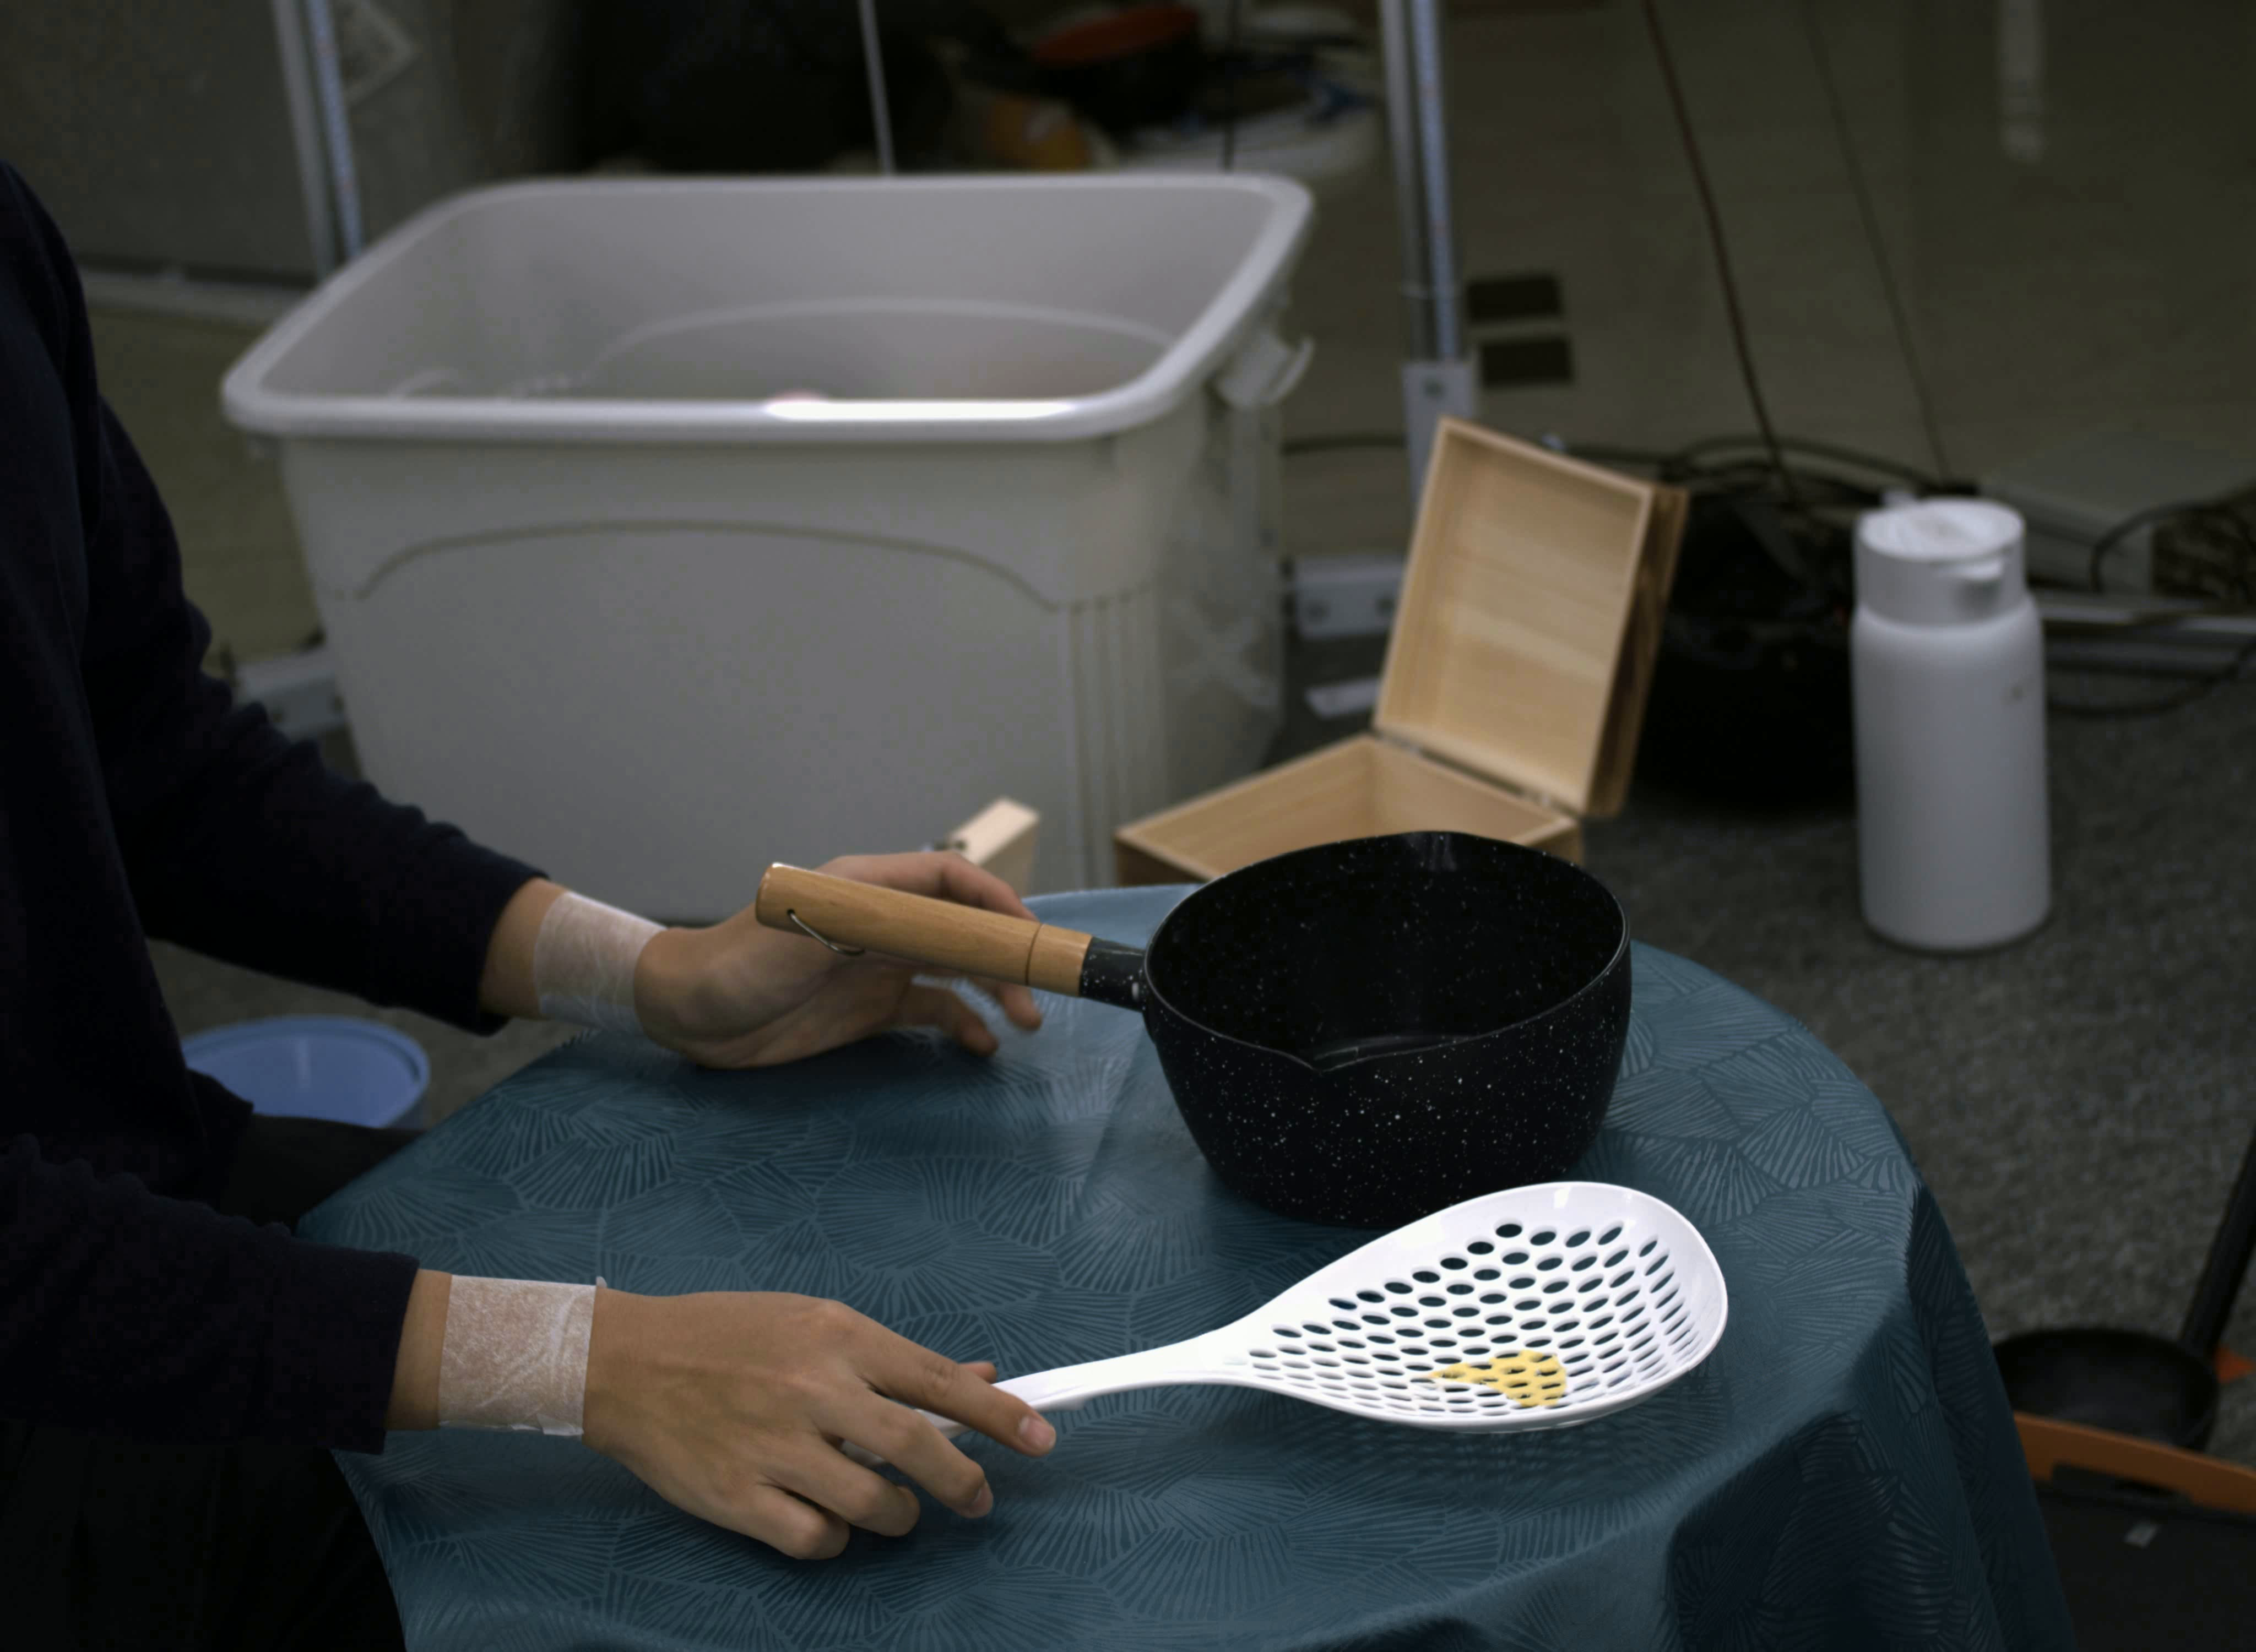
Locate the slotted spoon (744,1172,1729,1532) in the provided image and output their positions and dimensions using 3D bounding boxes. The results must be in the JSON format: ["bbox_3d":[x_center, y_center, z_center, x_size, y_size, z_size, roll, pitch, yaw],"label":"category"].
[{"bbox_3d":[0.036,0.193,1.970,0.347,0.051,0.134,-8,32,-6],"label":"slotted spoon"}]

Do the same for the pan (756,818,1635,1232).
[{"bbox_3d":[0.023,0.069,2.162,0.342,0.110,0.204,2,27,14],"label":"pan"}]
